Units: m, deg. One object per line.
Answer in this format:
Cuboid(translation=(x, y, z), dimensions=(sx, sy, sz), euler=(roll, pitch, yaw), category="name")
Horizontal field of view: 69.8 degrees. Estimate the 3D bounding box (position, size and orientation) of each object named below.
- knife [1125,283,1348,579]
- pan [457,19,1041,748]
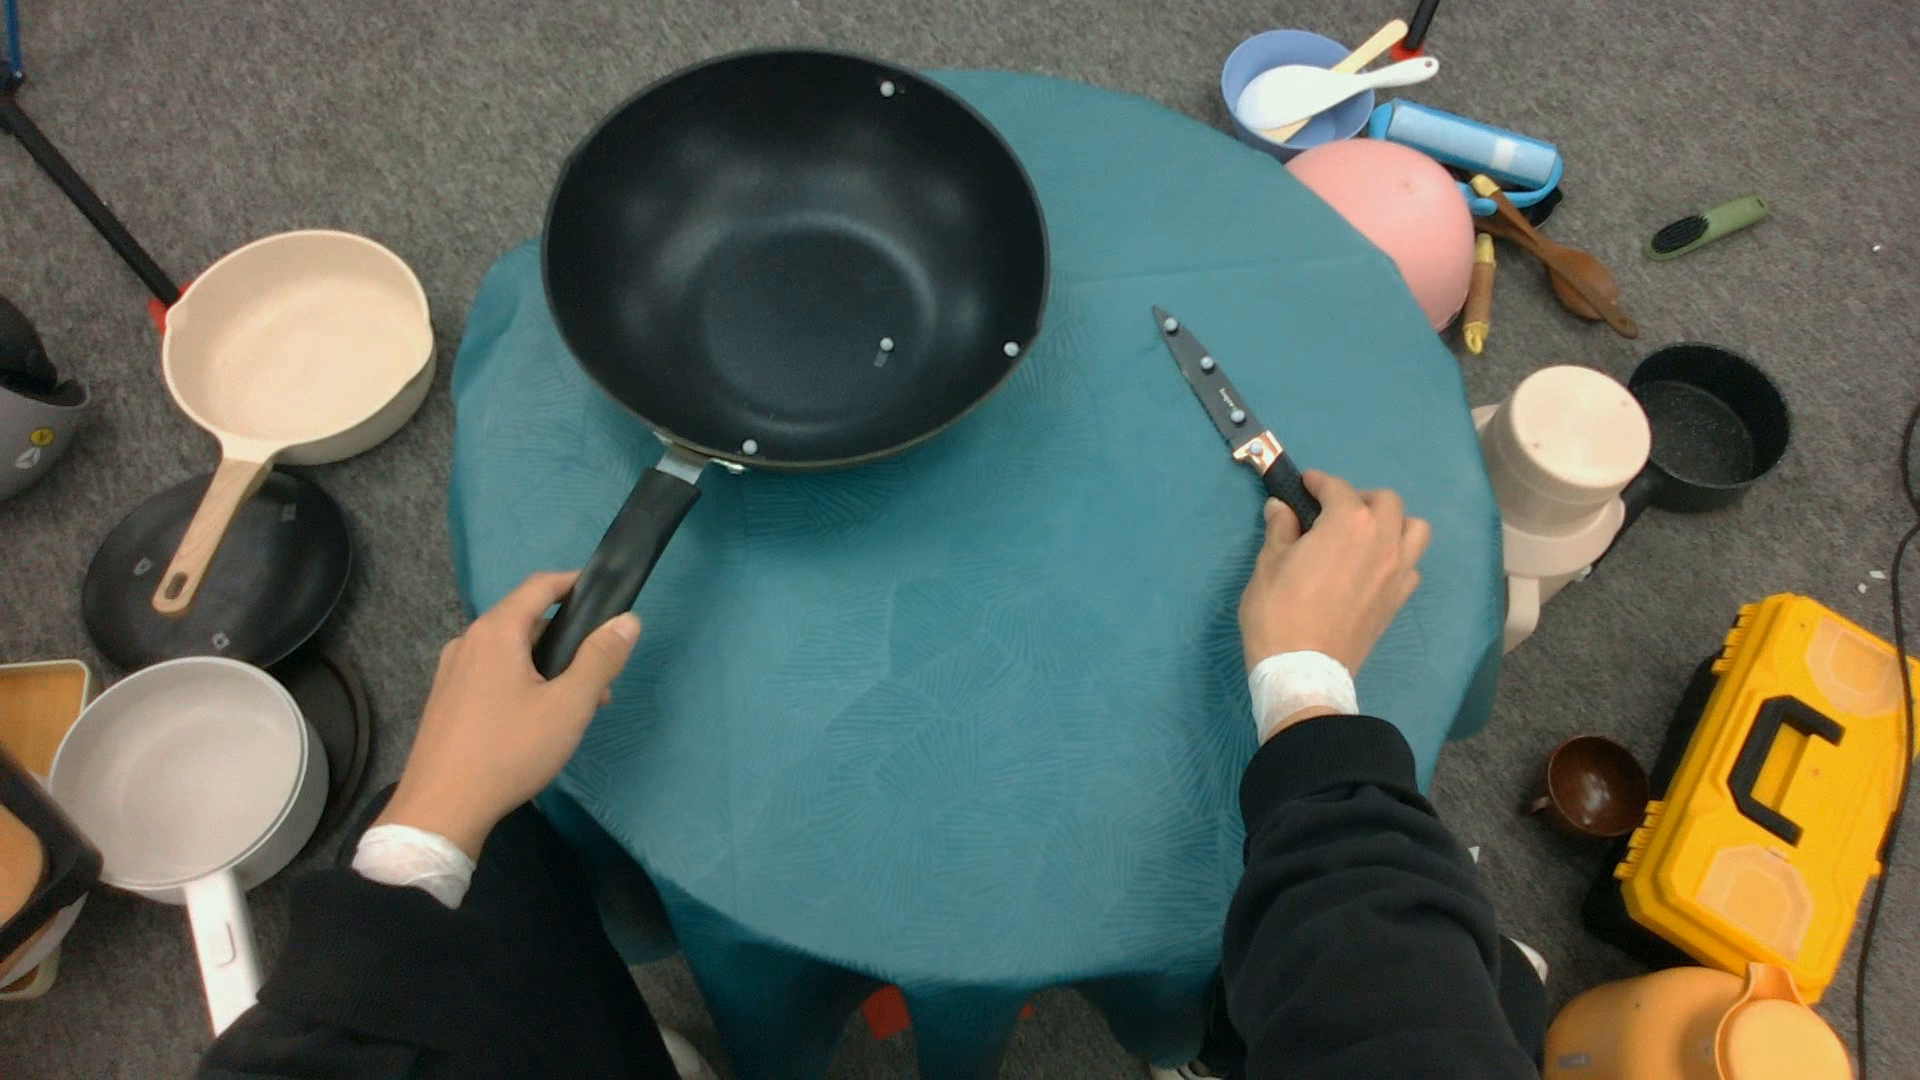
Cuboid(translation=(0.162, -0.070, 0.820), dimensions=(0.026, 0.017, 0.226), euler=(-33, 71, 11), category="knife")
Cuboid(translation=(-0.133, -0.087, 0.767), dimensions=(0.288, 0.086, 0.465), euler=(22, 69, 6), category="pan")
